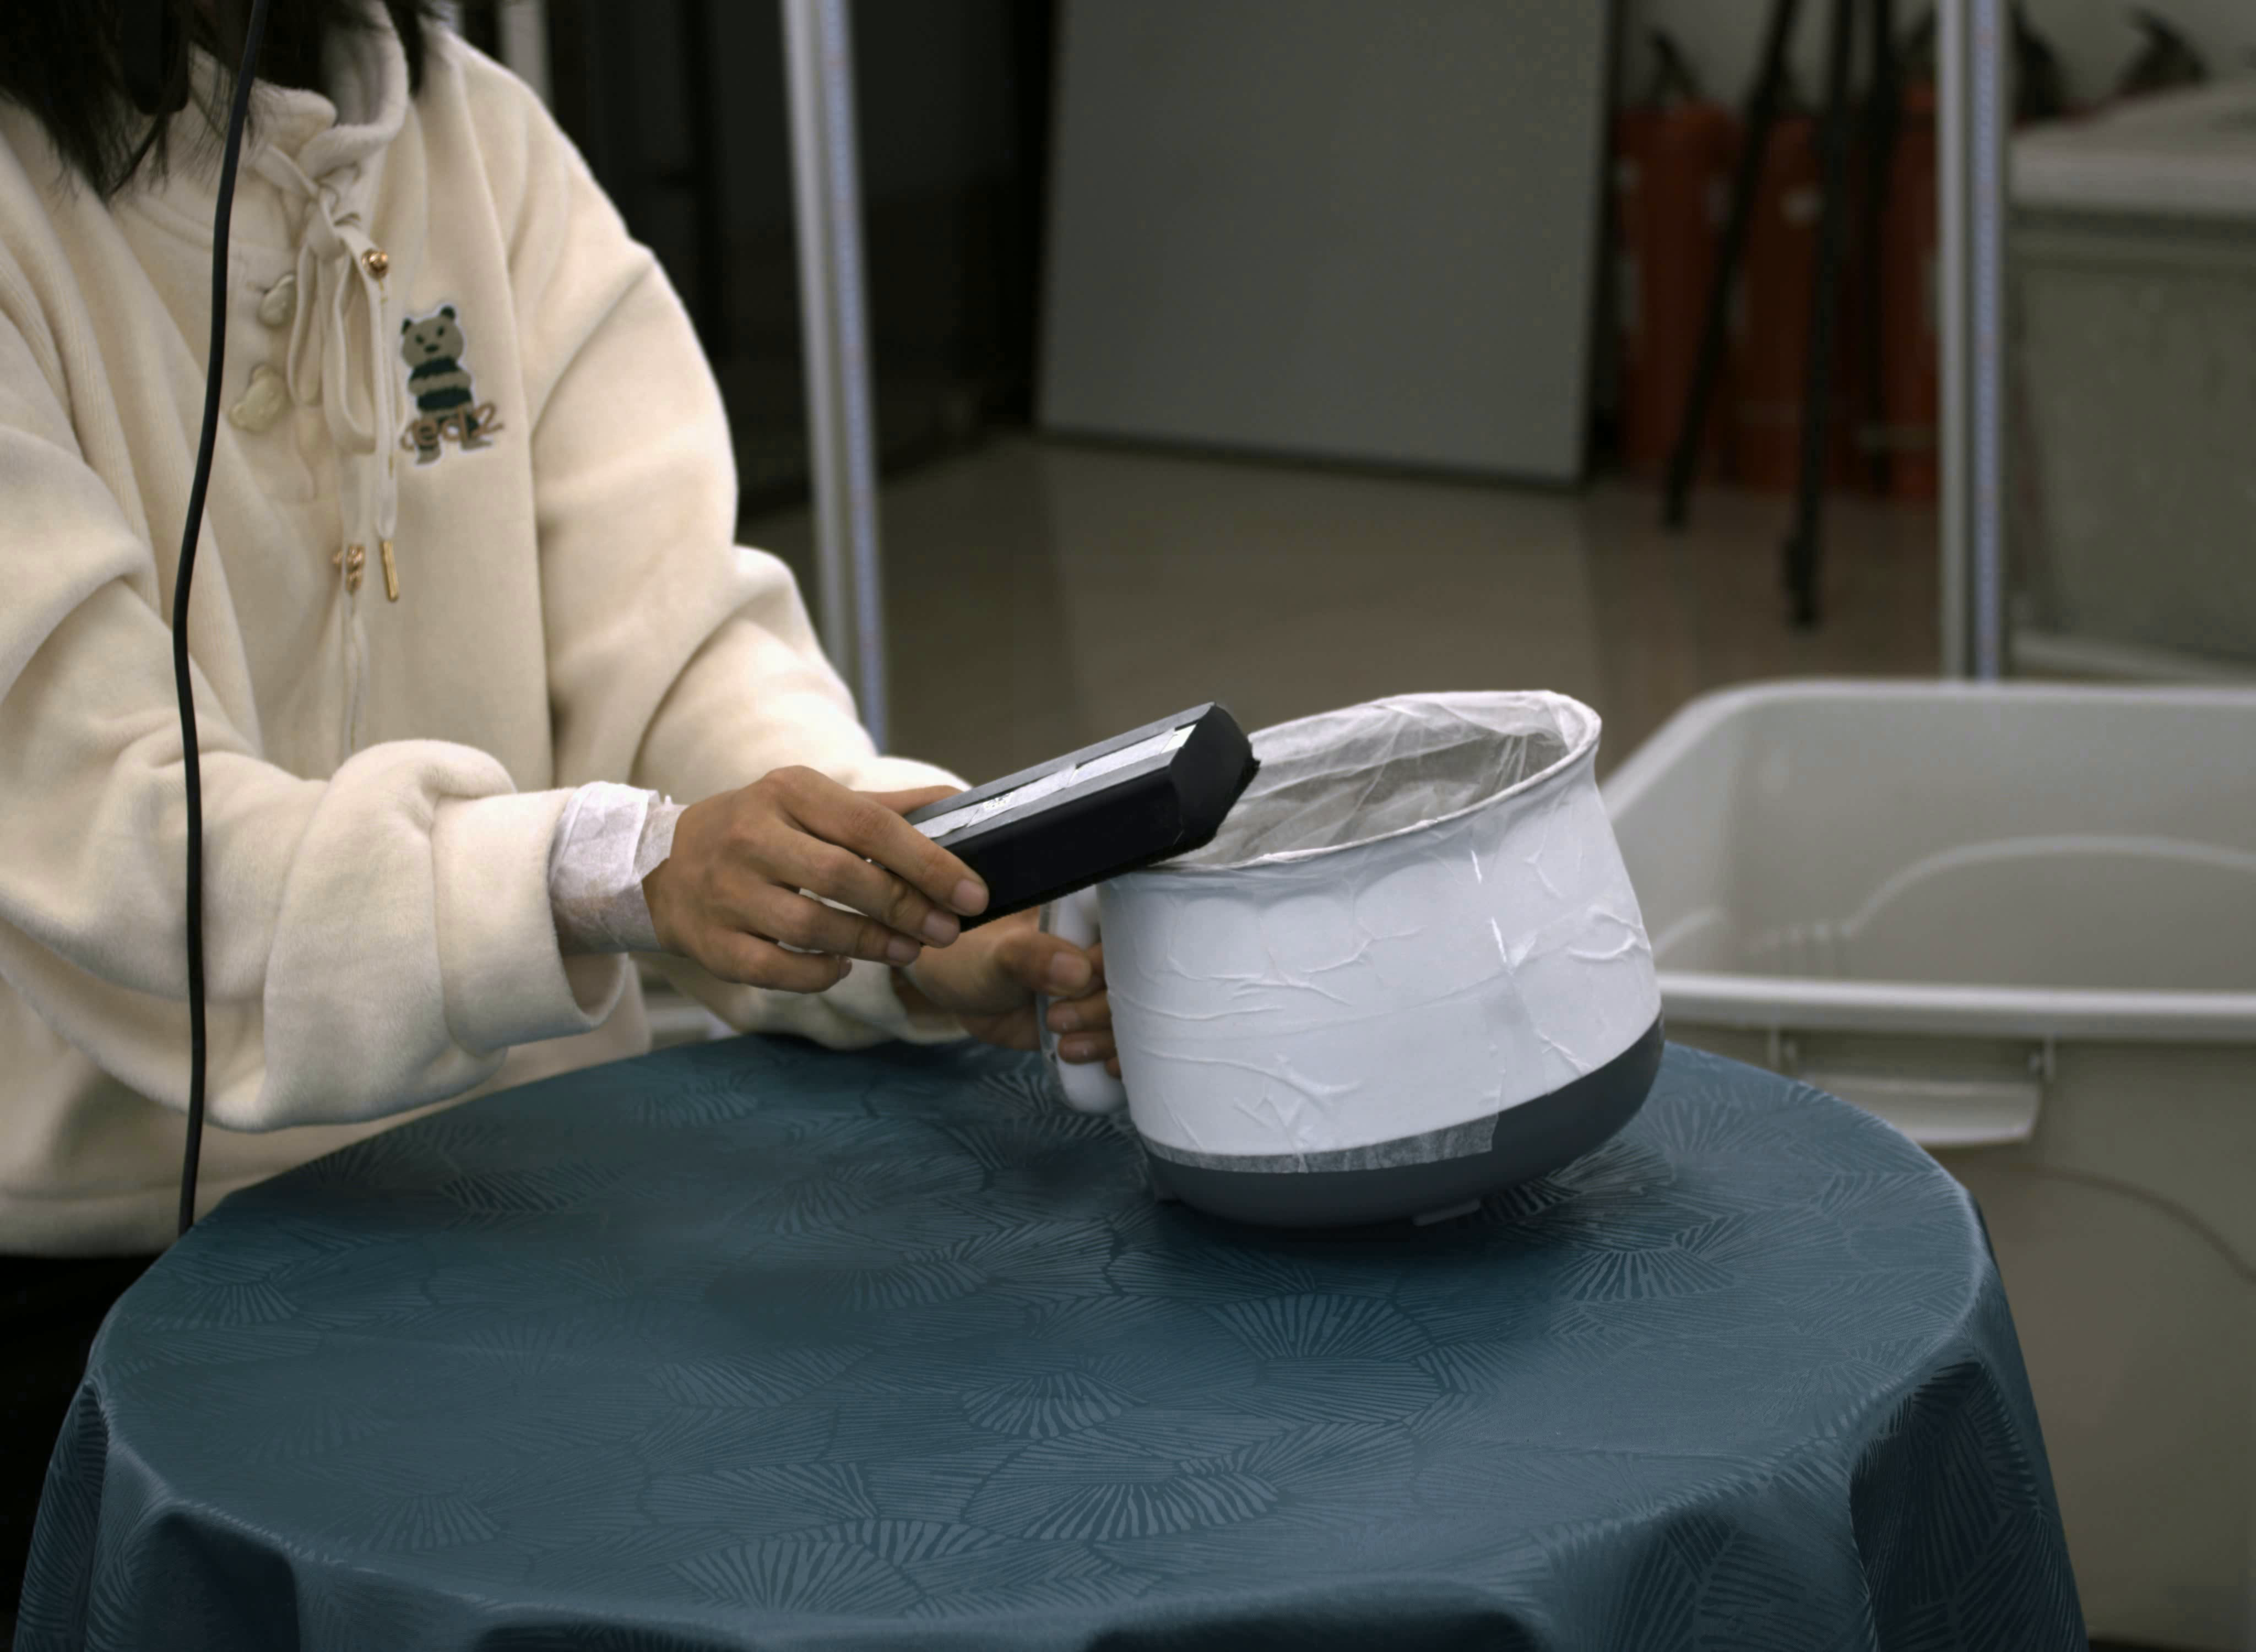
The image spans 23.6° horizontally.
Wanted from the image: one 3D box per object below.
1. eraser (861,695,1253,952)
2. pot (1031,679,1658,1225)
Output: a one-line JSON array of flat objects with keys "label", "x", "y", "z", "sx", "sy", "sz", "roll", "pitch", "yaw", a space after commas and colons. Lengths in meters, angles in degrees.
[{"label": "eraser", "x": -0.022, "y": -0.001, "z": 1.690, "sx": 0.126, "sy": 0.030, "sz": 0.053, "roll": -22, "pitch": 18, "yaw": 31}, {"label": "pot", "x": 0.057, "y": 0.041, "z": 1.749, "sx": 0.235, "sy": 0.138, "sz": 0.176, "roll": -1, "pitch": 18, "yaw": 41}]
